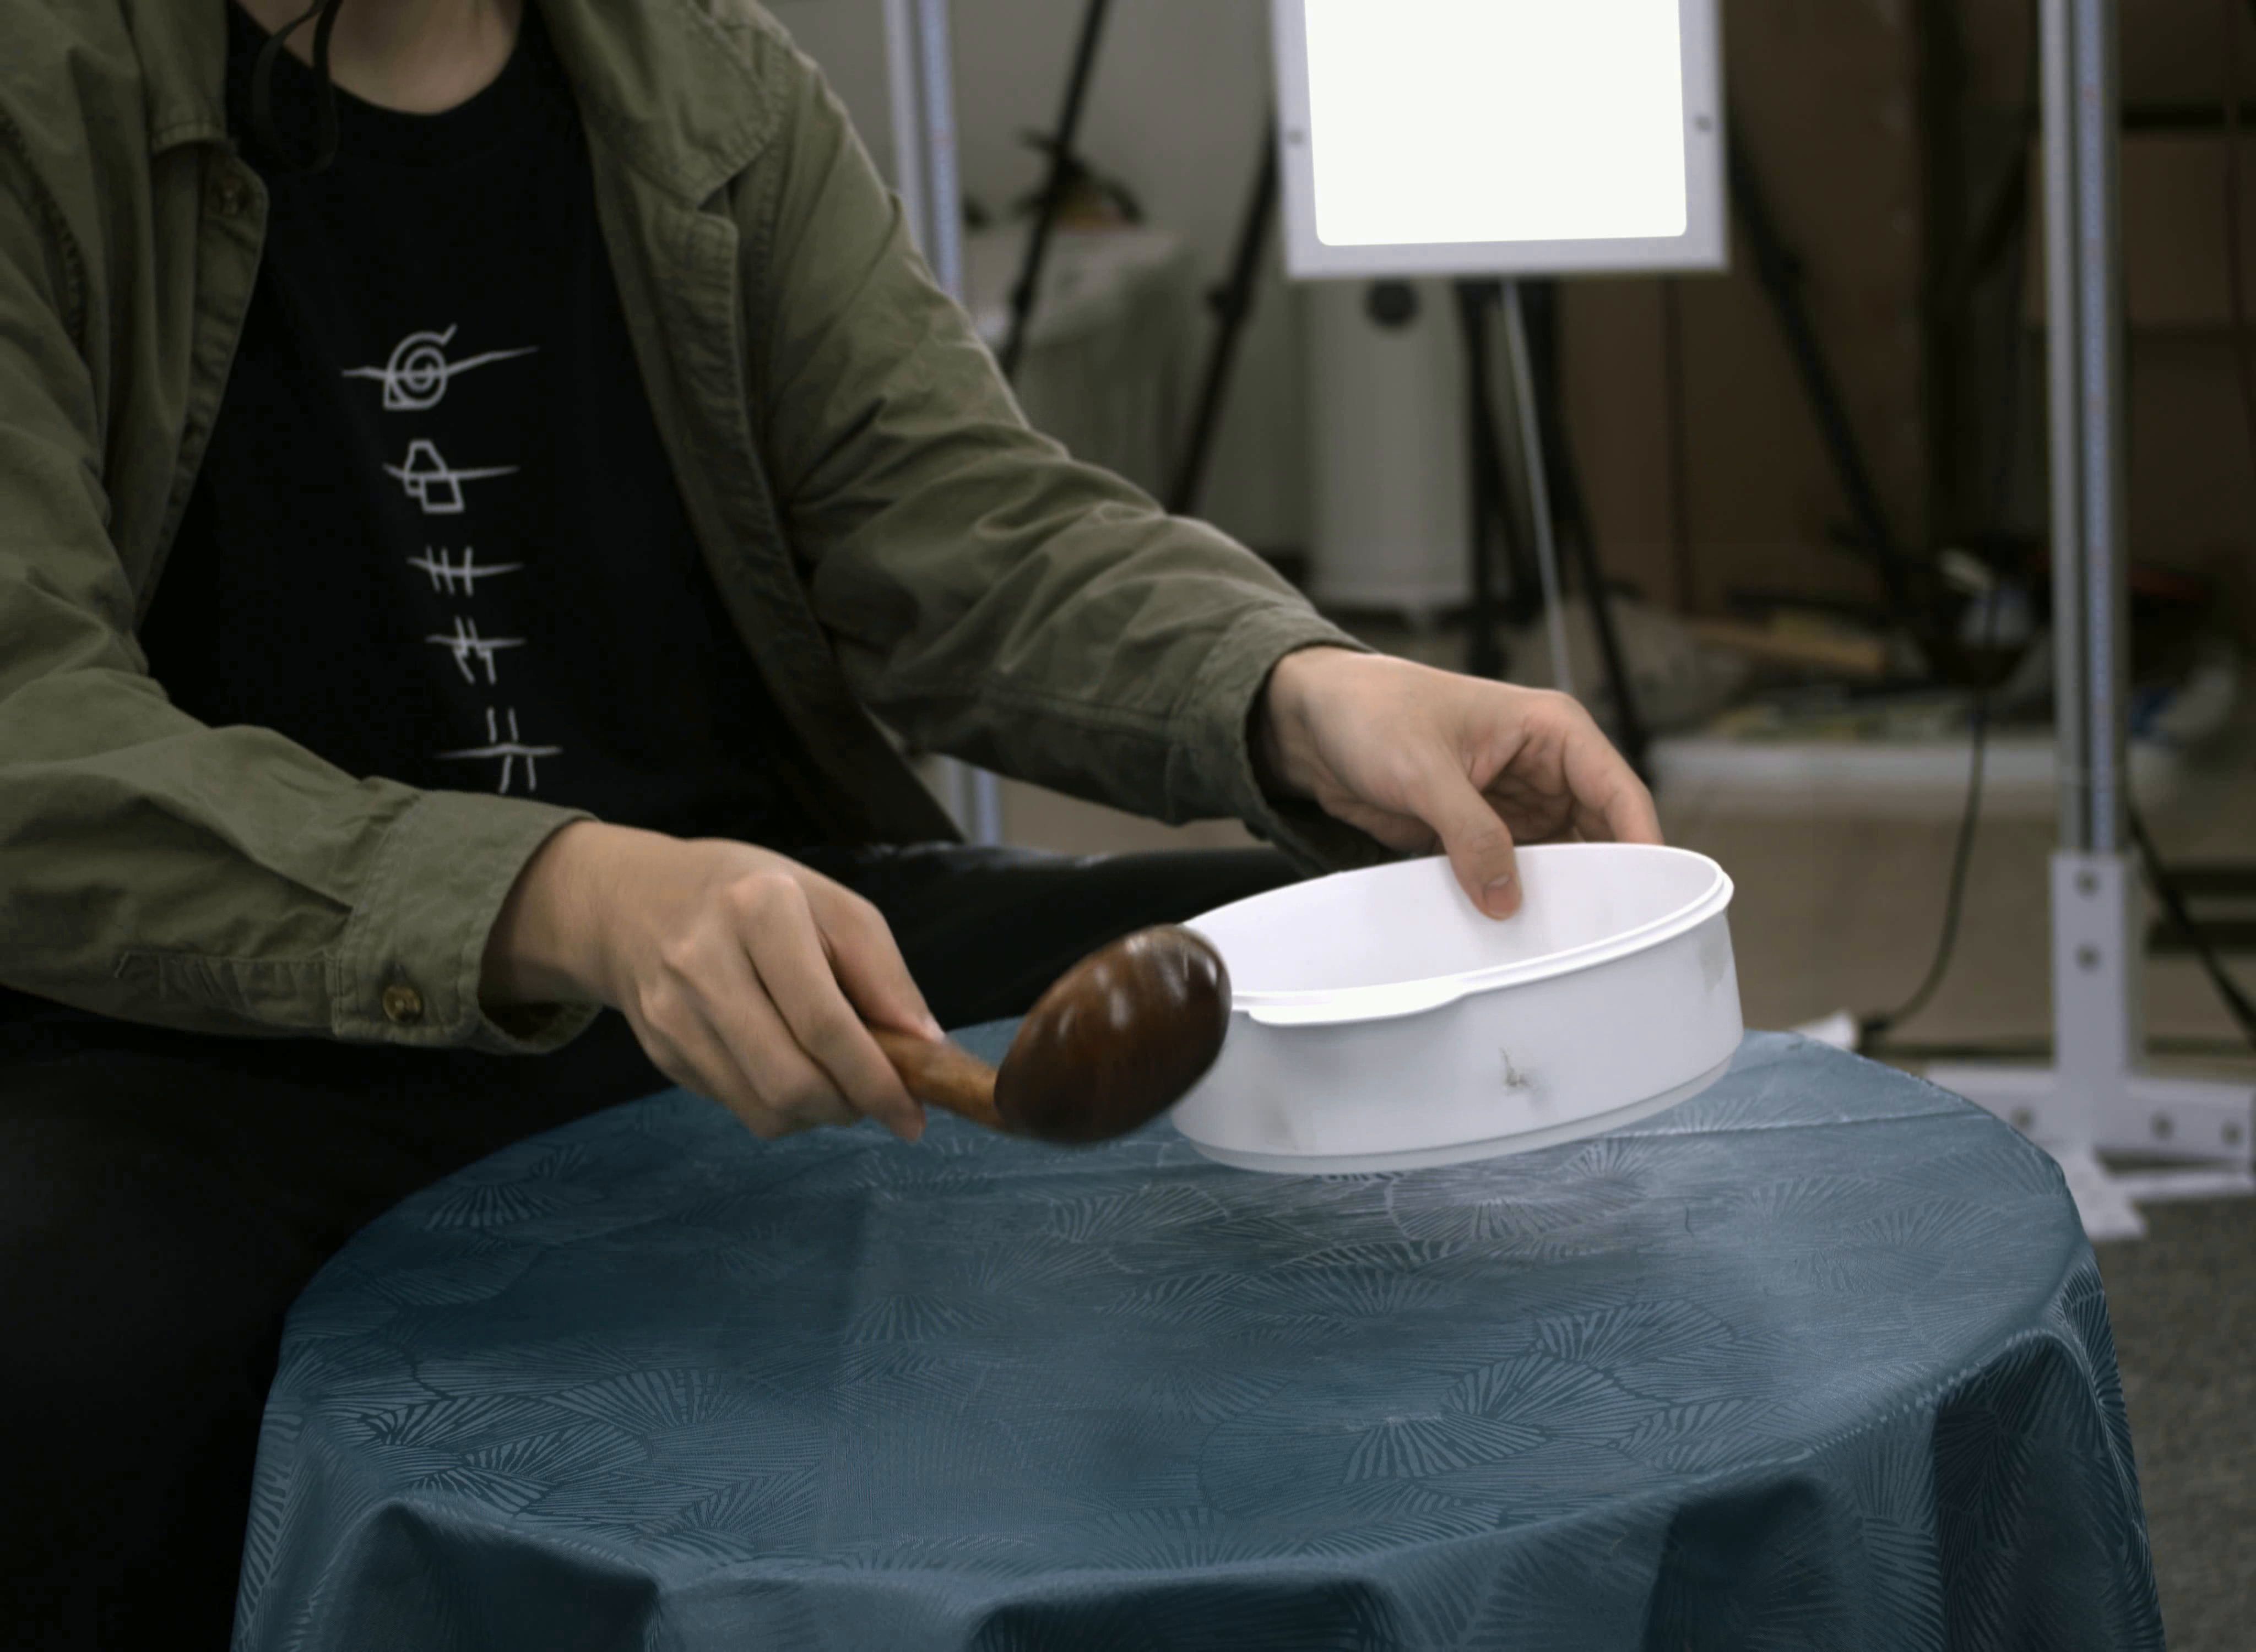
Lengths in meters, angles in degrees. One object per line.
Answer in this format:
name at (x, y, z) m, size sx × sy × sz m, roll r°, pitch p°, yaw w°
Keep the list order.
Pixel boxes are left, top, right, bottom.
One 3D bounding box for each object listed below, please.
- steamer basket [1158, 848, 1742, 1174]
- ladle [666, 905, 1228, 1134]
steamer basket at (0.105, 0.061, 1.817) m, size 0.205 × 0.069 × 0.226 m, roll -5°, pitch 11°, yaw 22°
ladle at (-0.070, 0.049, 1.731) m, size 0.080 × 0.077 × 0.280 m, roll -12°, pitch 13°, yaw -35°
